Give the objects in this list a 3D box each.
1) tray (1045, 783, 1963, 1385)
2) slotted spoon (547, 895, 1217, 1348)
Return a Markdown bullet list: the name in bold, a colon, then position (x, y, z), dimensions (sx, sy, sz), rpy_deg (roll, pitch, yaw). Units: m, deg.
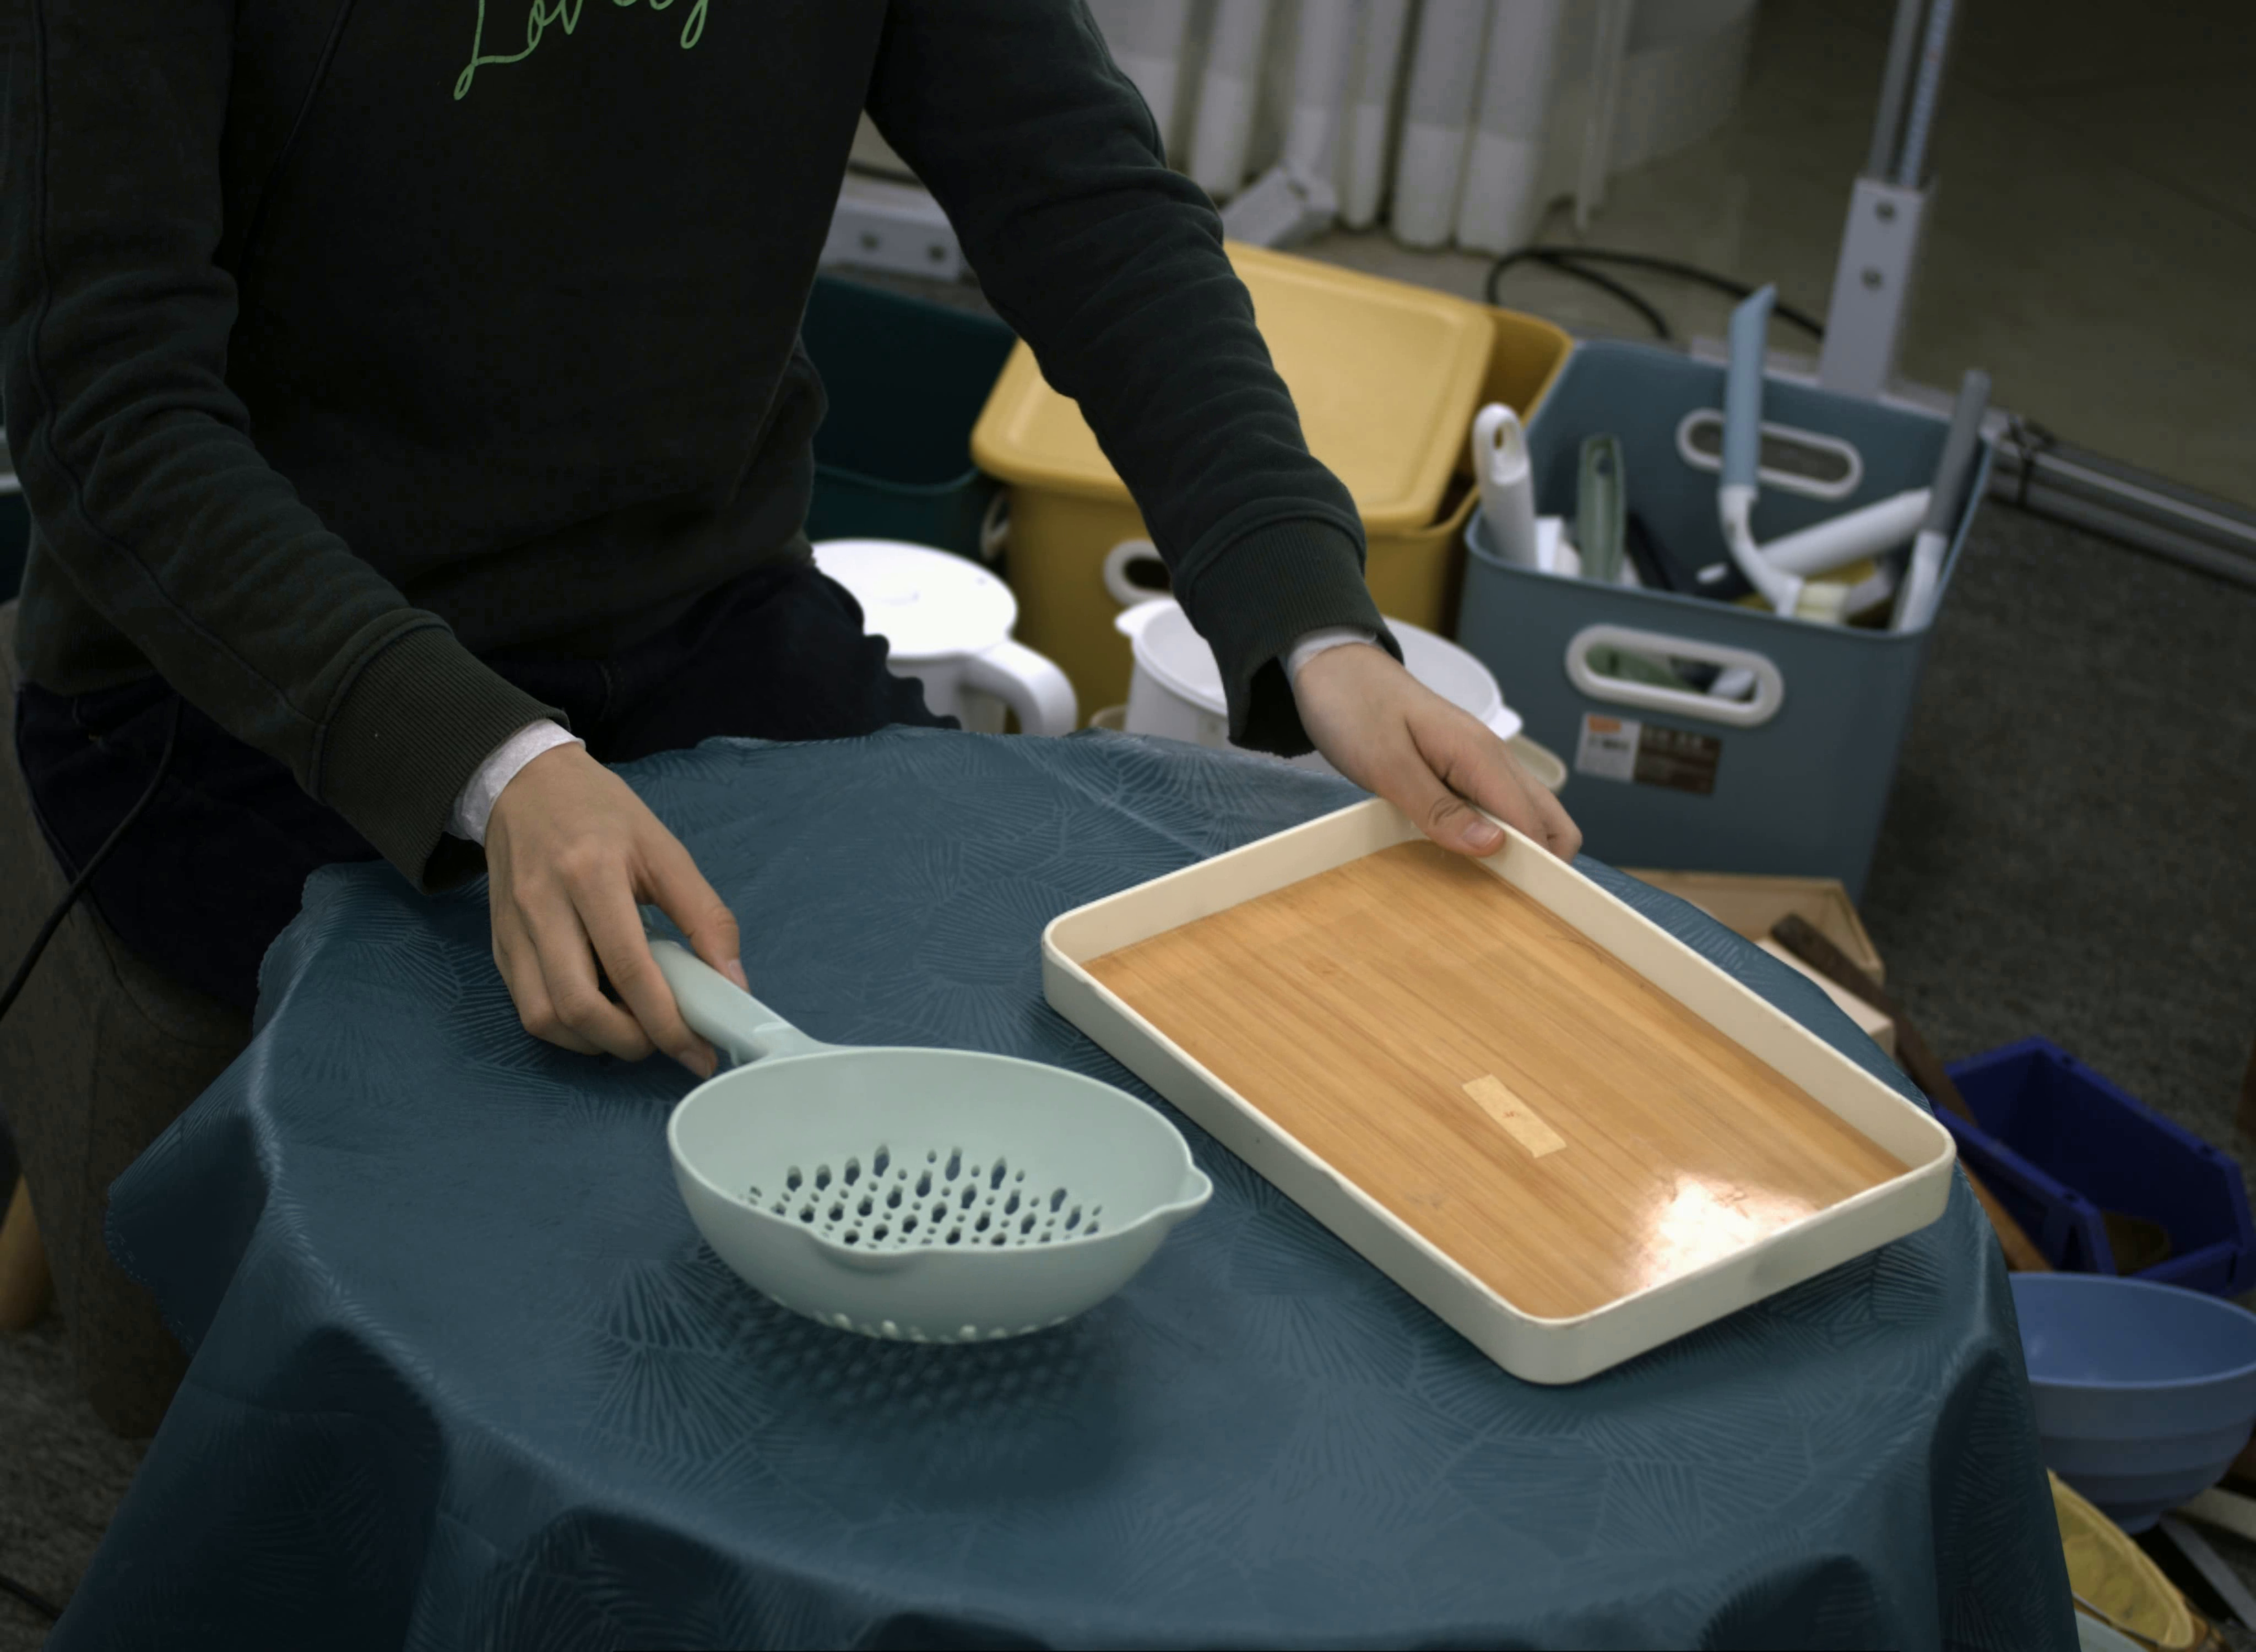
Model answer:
- **tray**: position (0.126, 0.084, 1.853), dimensions (0.190, 0.027, 0.303), rpy_deg (-20, 37, -29)
- **slotted spoon**: position (-0.113, 0.083, 1.783), dimensions (0.168, 0.075, 0.362), rpy_deg (-6, 29, -30)
